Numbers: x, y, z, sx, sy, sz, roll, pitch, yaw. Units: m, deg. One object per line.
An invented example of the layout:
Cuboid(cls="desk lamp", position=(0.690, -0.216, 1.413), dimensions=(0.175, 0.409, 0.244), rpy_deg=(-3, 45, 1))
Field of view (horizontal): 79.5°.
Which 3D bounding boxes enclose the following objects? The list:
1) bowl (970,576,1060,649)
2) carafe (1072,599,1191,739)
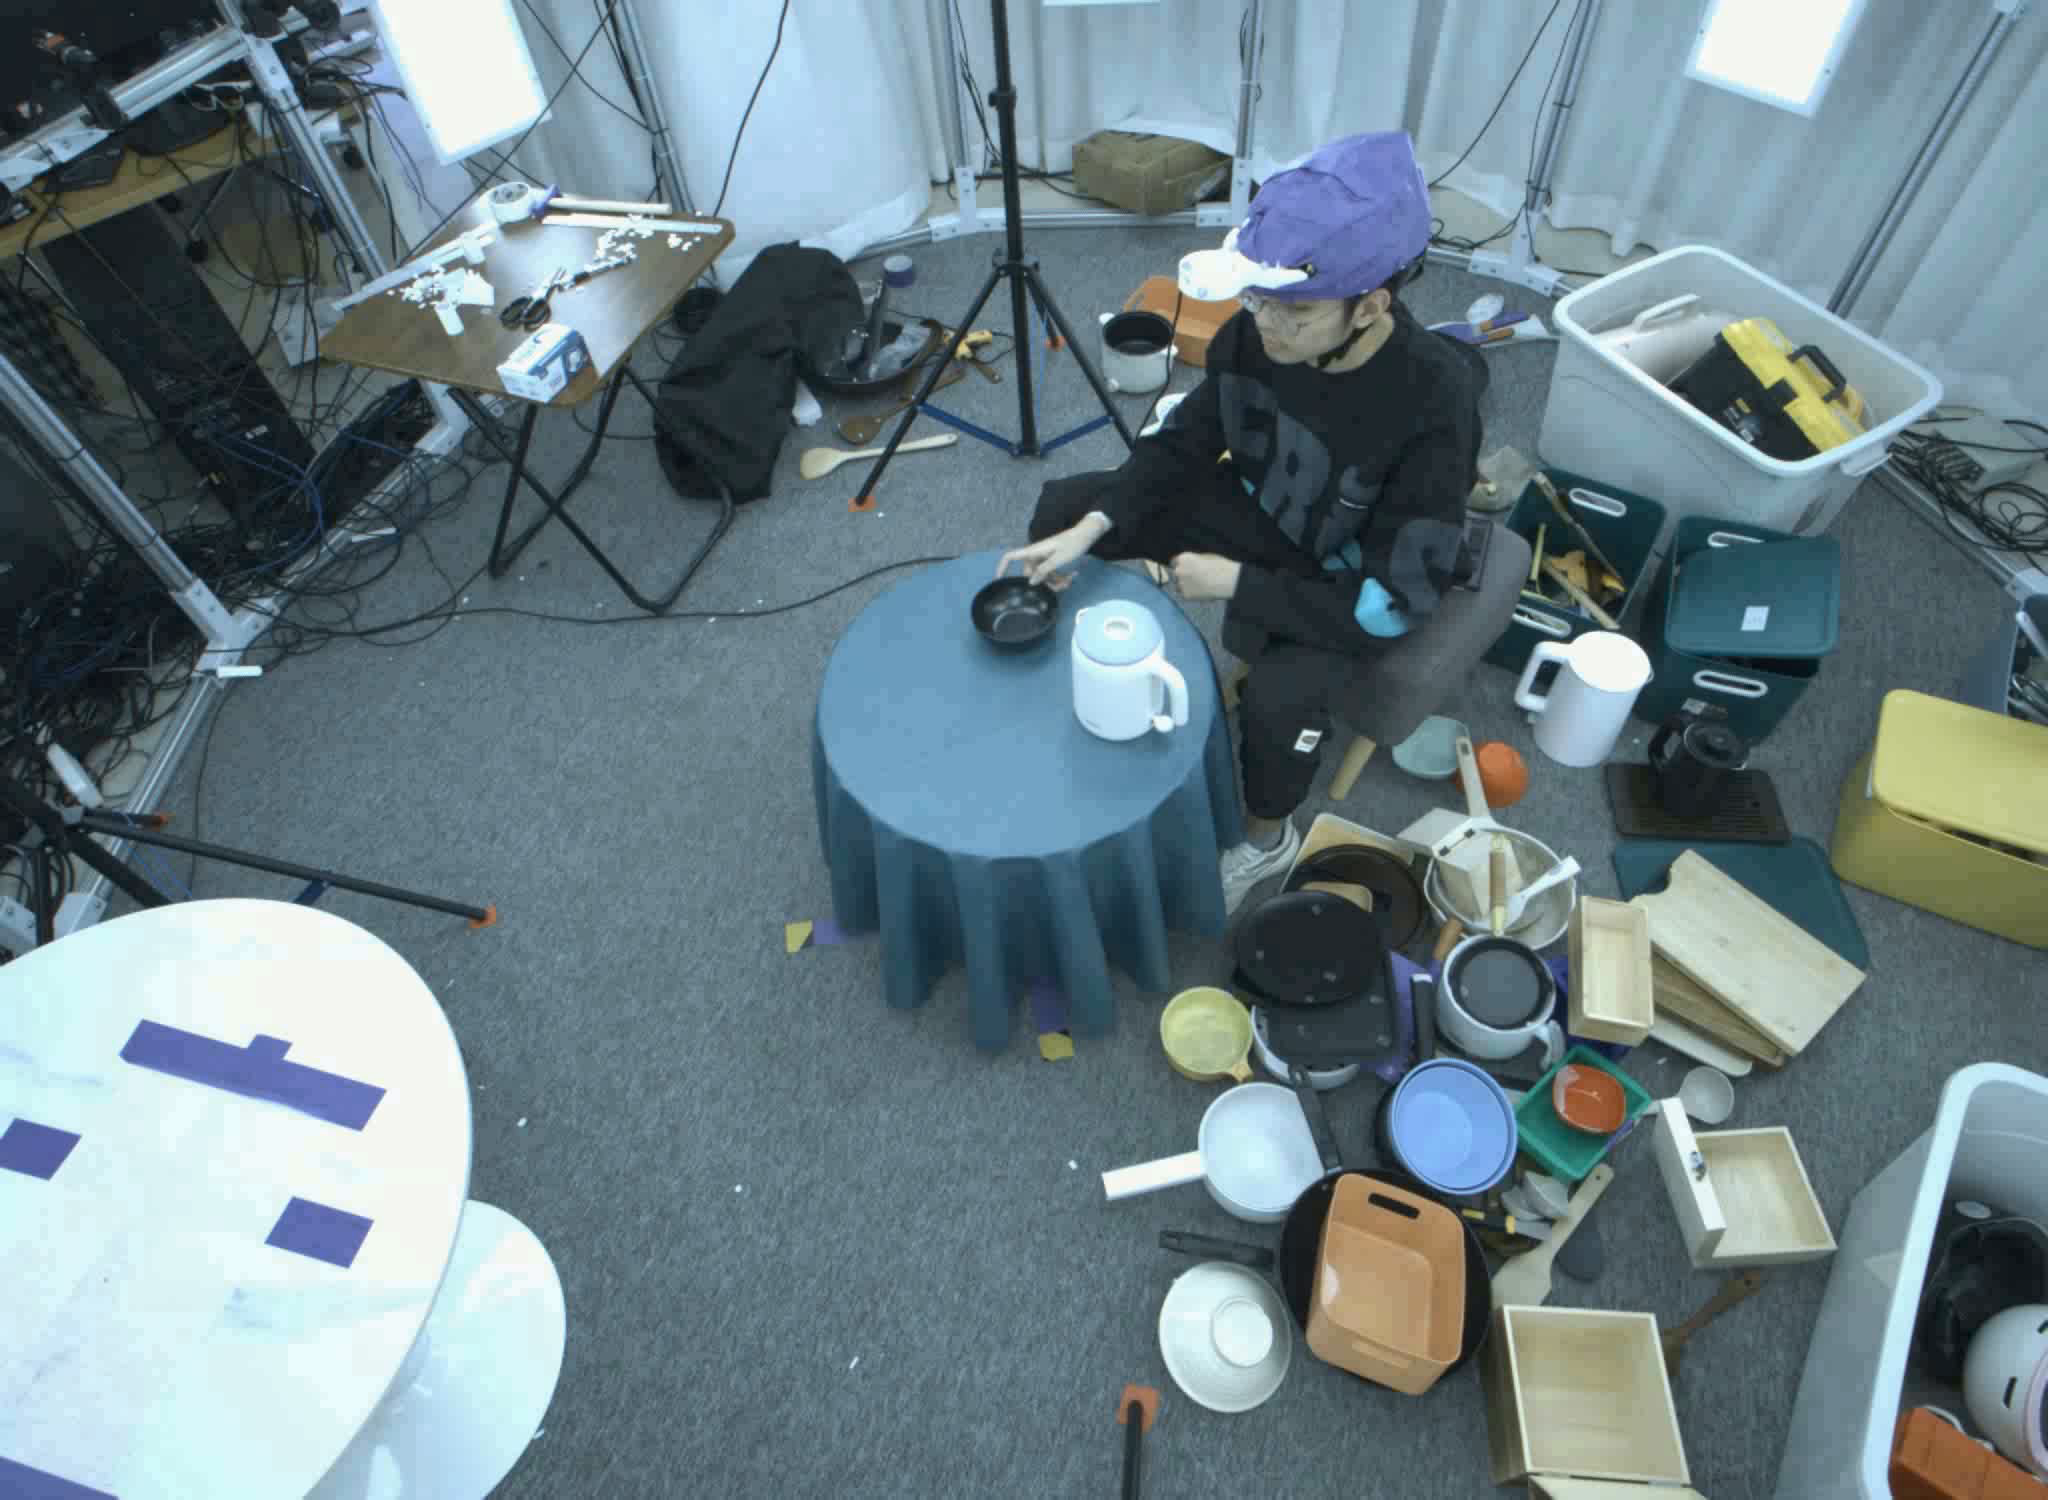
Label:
Cuboid(cls="bowl", position=(-0.013, -0.204, 1.898), dimensions=(0.140, 0.050, 0.138), rpy_deg=(0, 53, 1))
Cuboid(cls="carafe", position=(0.154, -0.103, 1.745), dimensions=(0.188, 0.184, 0.133), rpy_deg=(32, 63, 20))
